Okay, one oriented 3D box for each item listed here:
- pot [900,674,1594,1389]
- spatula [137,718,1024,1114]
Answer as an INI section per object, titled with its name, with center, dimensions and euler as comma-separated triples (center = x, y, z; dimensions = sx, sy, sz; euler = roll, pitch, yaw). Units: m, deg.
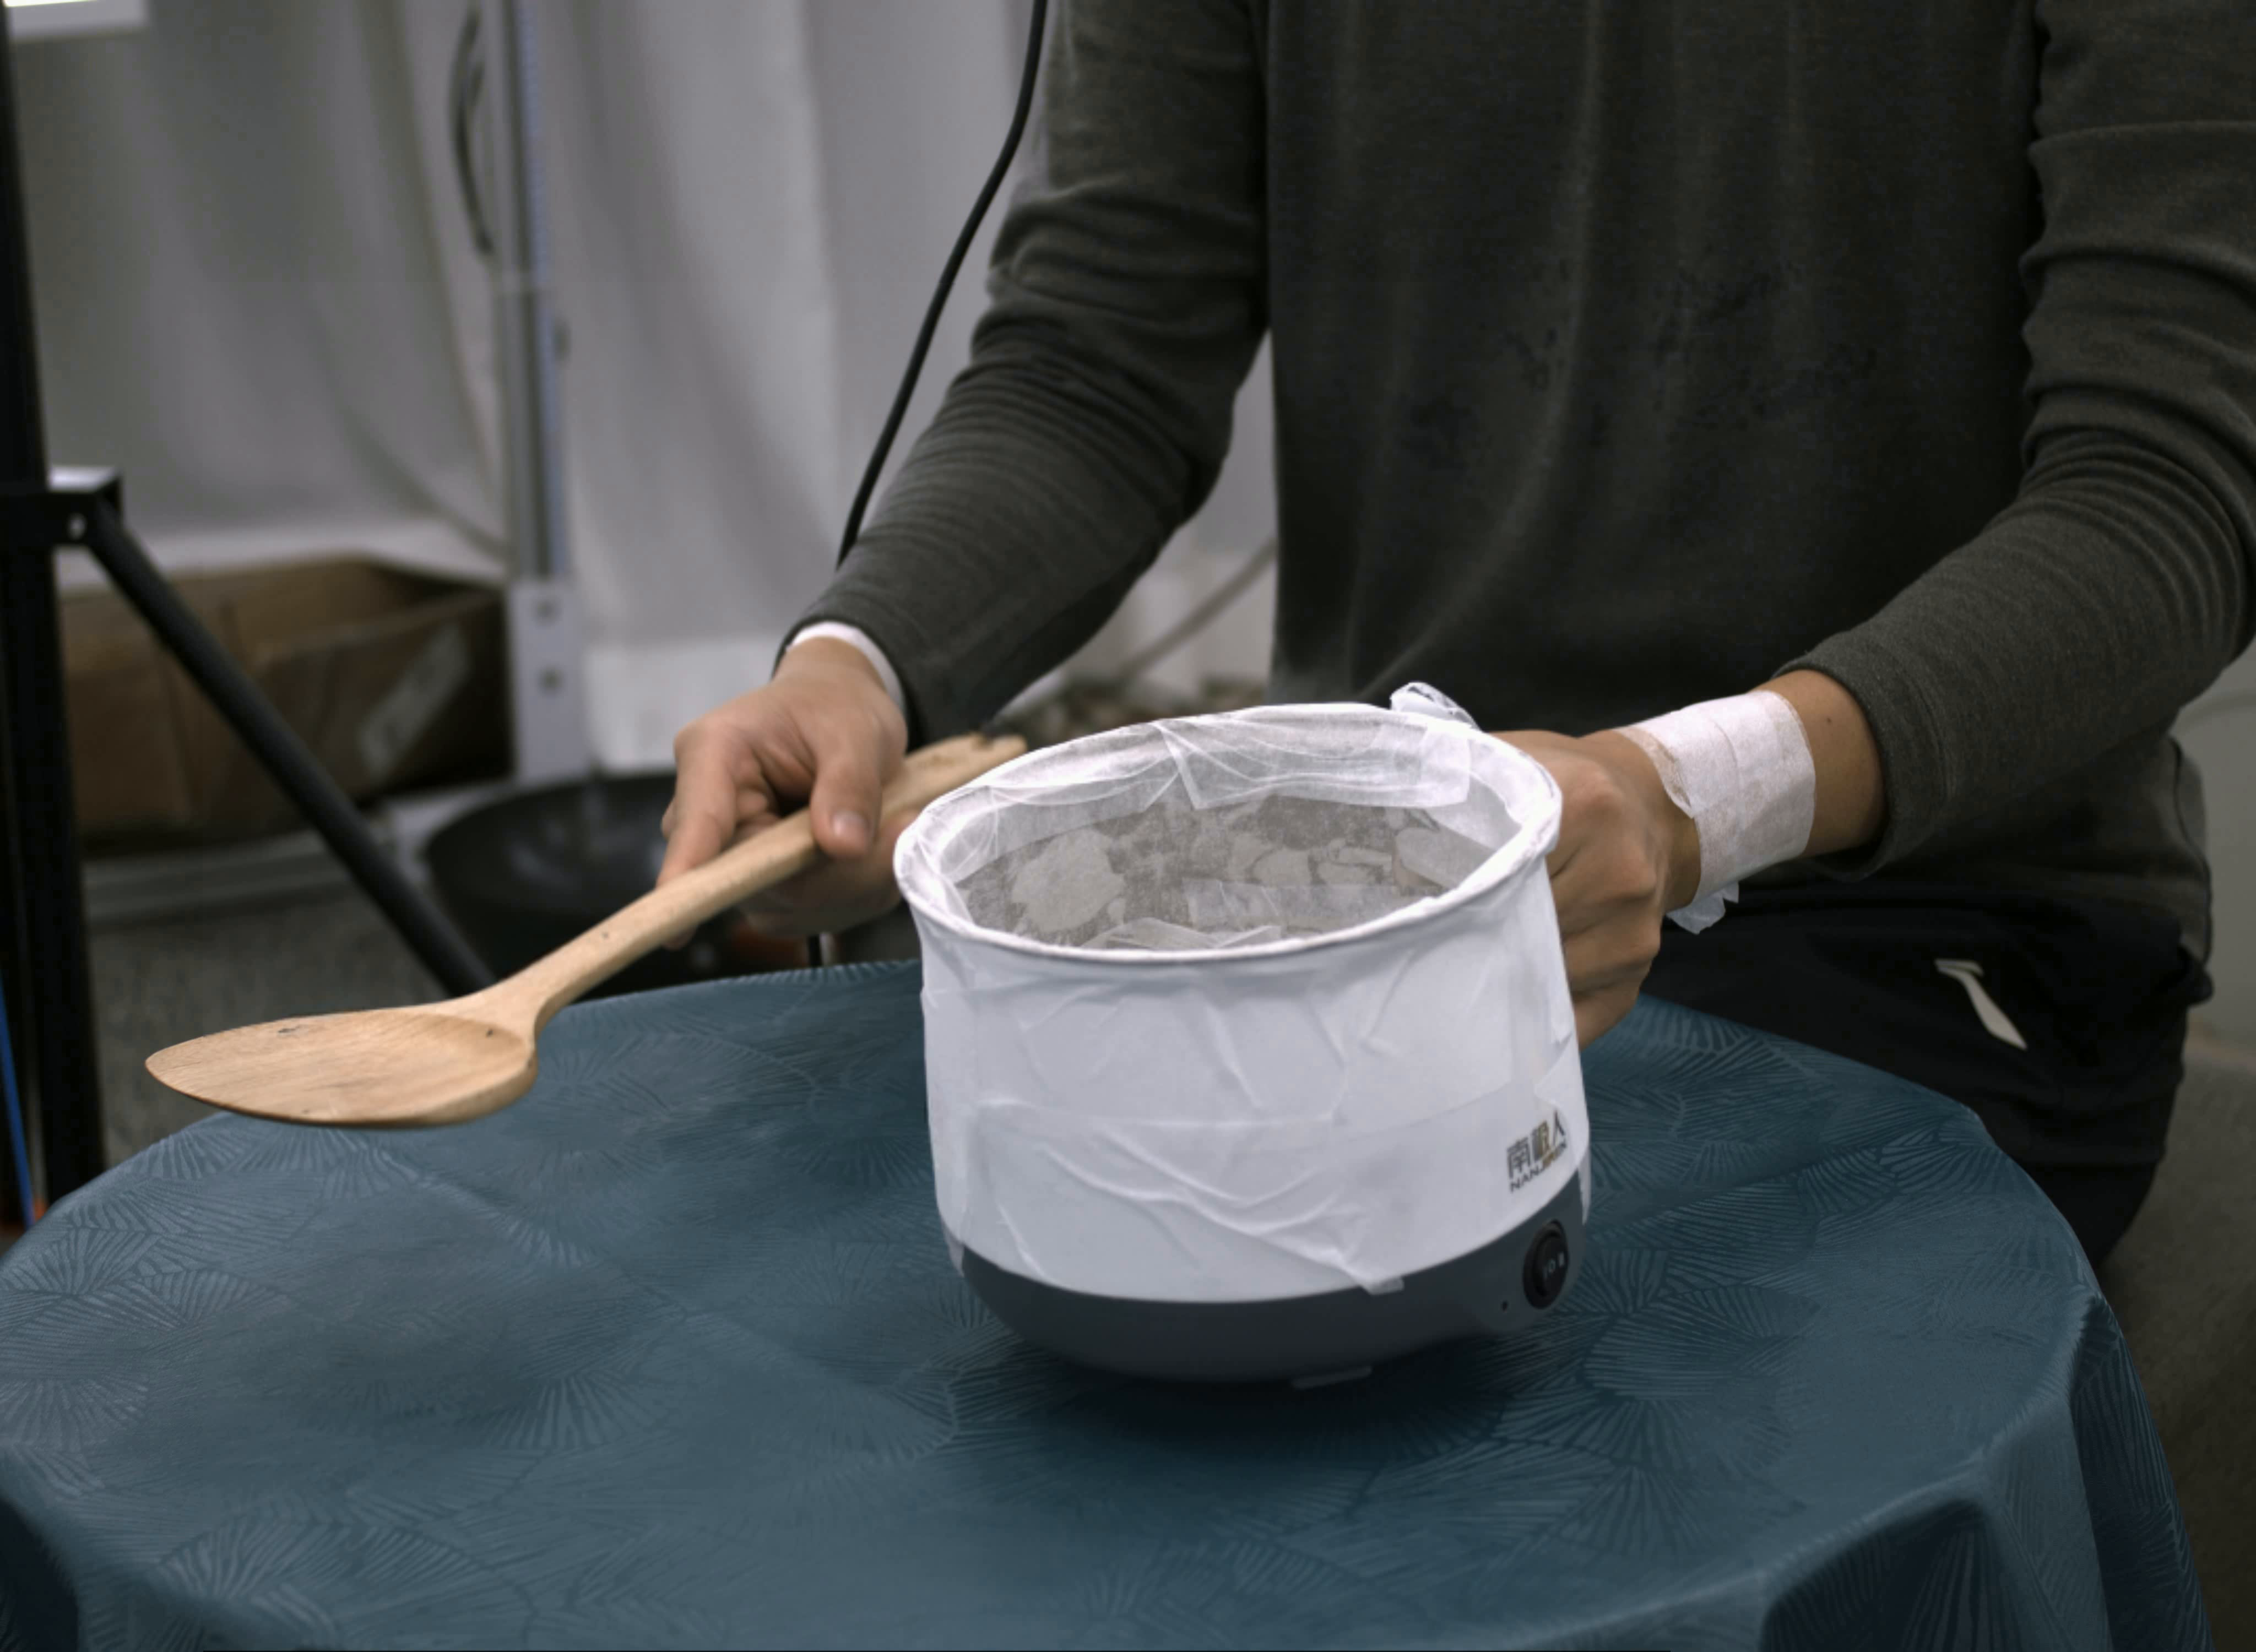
[pot]
center = 0.049, 0.048, 1.432
dimensions = 0.182, 0.136, 0.230
euler = 8, 25, 33
[spatula]
center = -0.140, 0.021, 1.570
dimensions = 0.097, 0.018, 0.384
euler = 8, 22, 29
